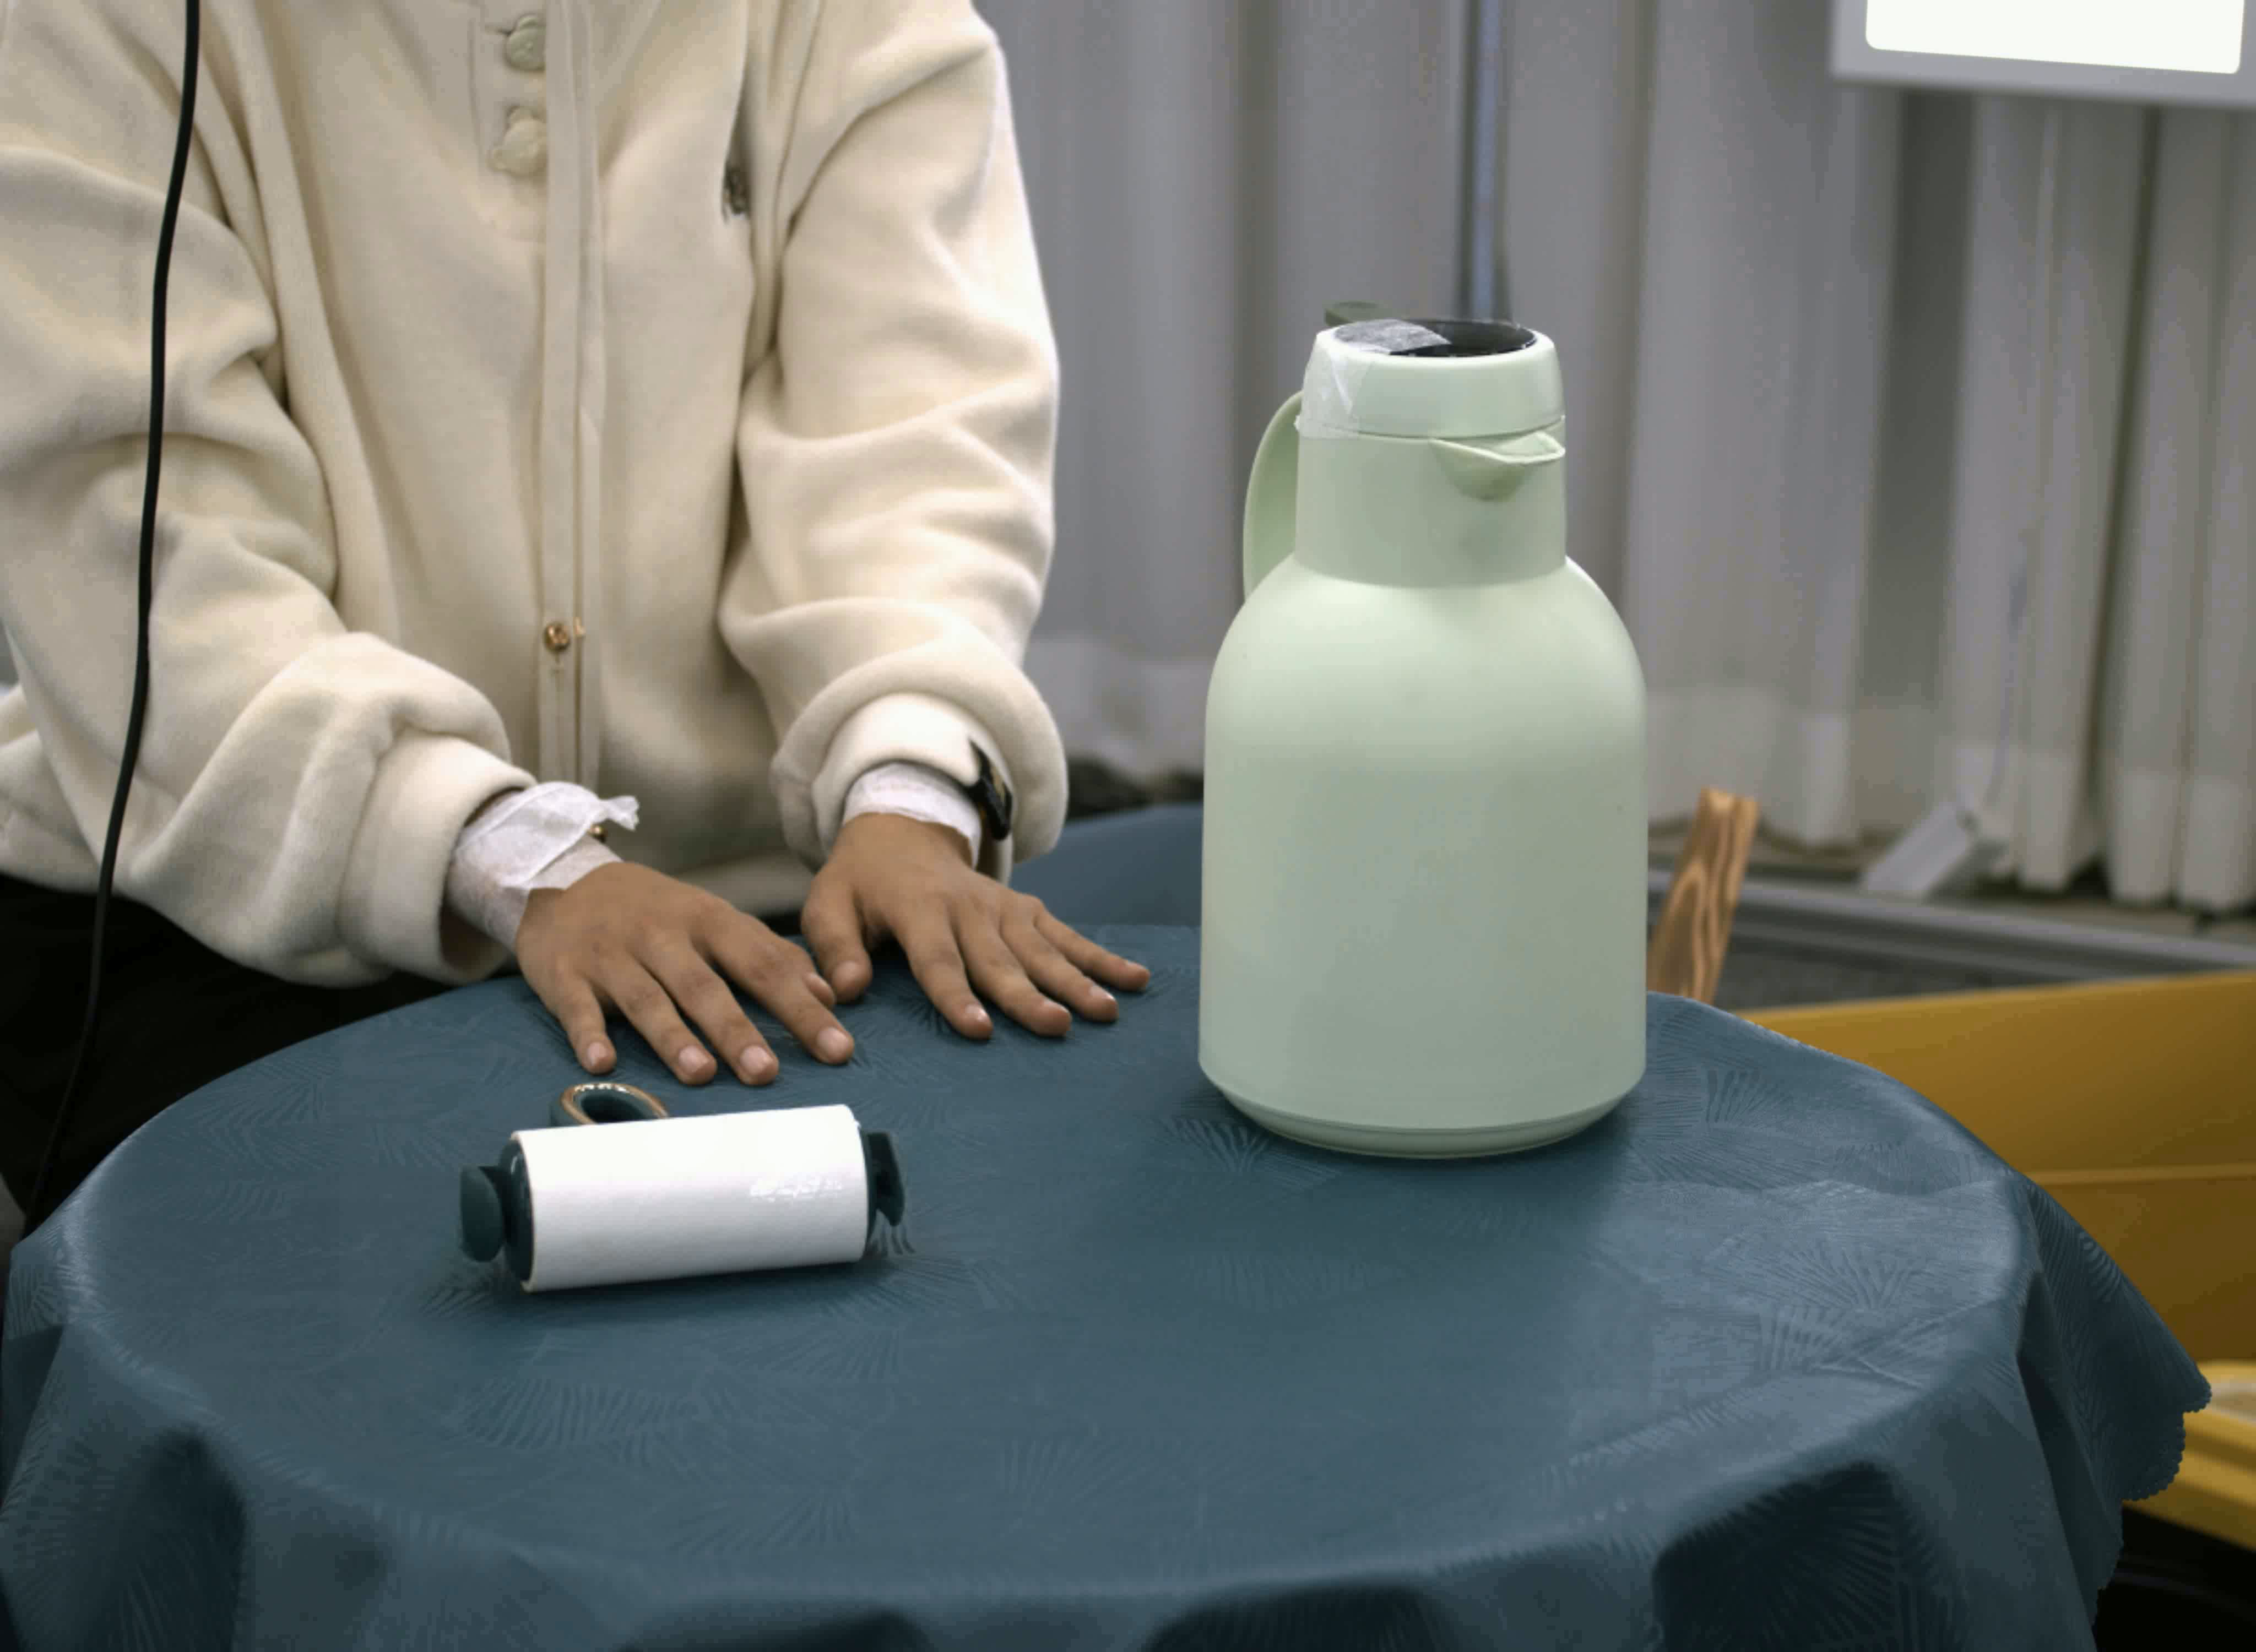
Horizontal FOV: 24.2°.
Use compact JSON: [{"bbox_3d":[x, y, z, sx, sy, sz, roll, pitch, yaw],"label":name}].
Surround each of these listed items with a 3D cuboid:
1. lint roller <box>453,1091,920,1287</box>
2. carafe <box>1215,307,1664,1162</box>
[{"bbox_3d":[-0.148,0.091,1.603,0.134,0.049,0.178,-3,16,-16],"label":"lint roller"},{"bbox_3d":[0.092,-0.034,1.686,0.144,0.259,0.185,-9,15,-22],"label":"carafe"}]
